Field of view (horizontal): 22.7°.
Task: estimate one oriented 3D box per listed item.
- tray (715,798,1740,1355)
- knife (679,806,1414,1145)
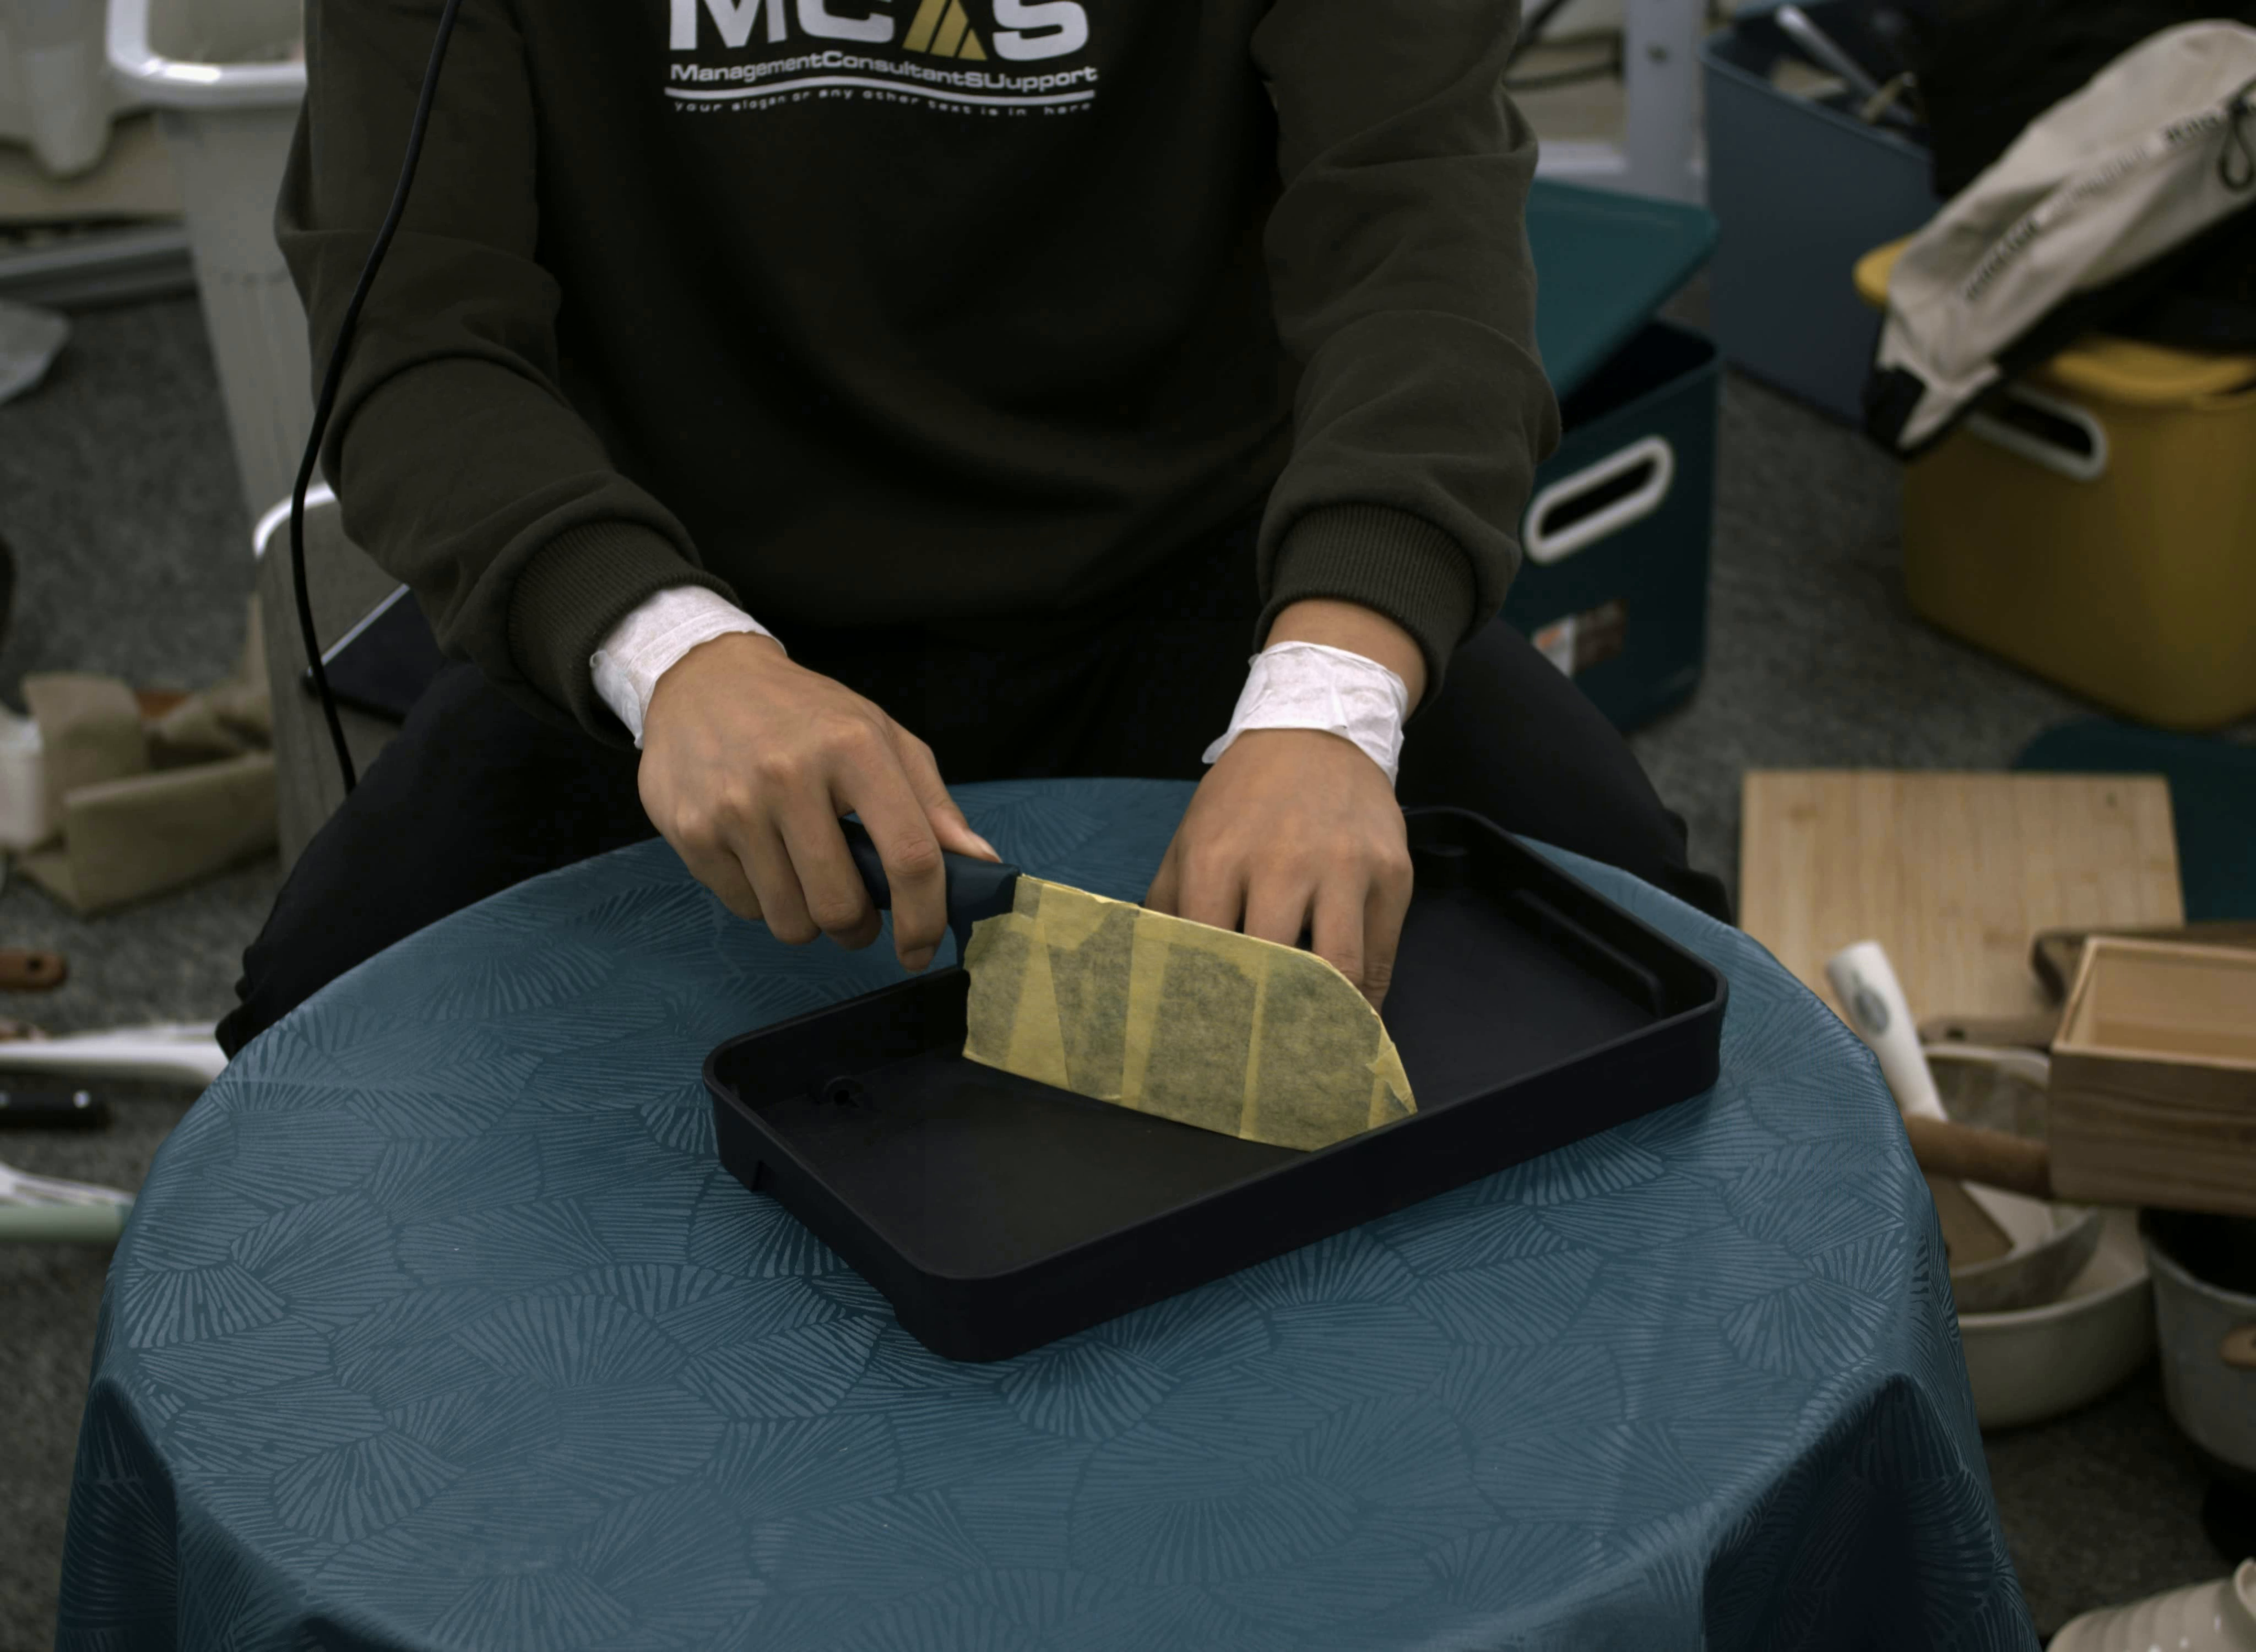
[{"bbox_3d":[0.035,0.079,1.900,0.320,0.036,0.185,-19,31,-29],"label":"tray"},{"bbox_3d":[-0.030,0.050,1.904,0.288,0.080,0.027,18,19,24],"label":"knife"}]
